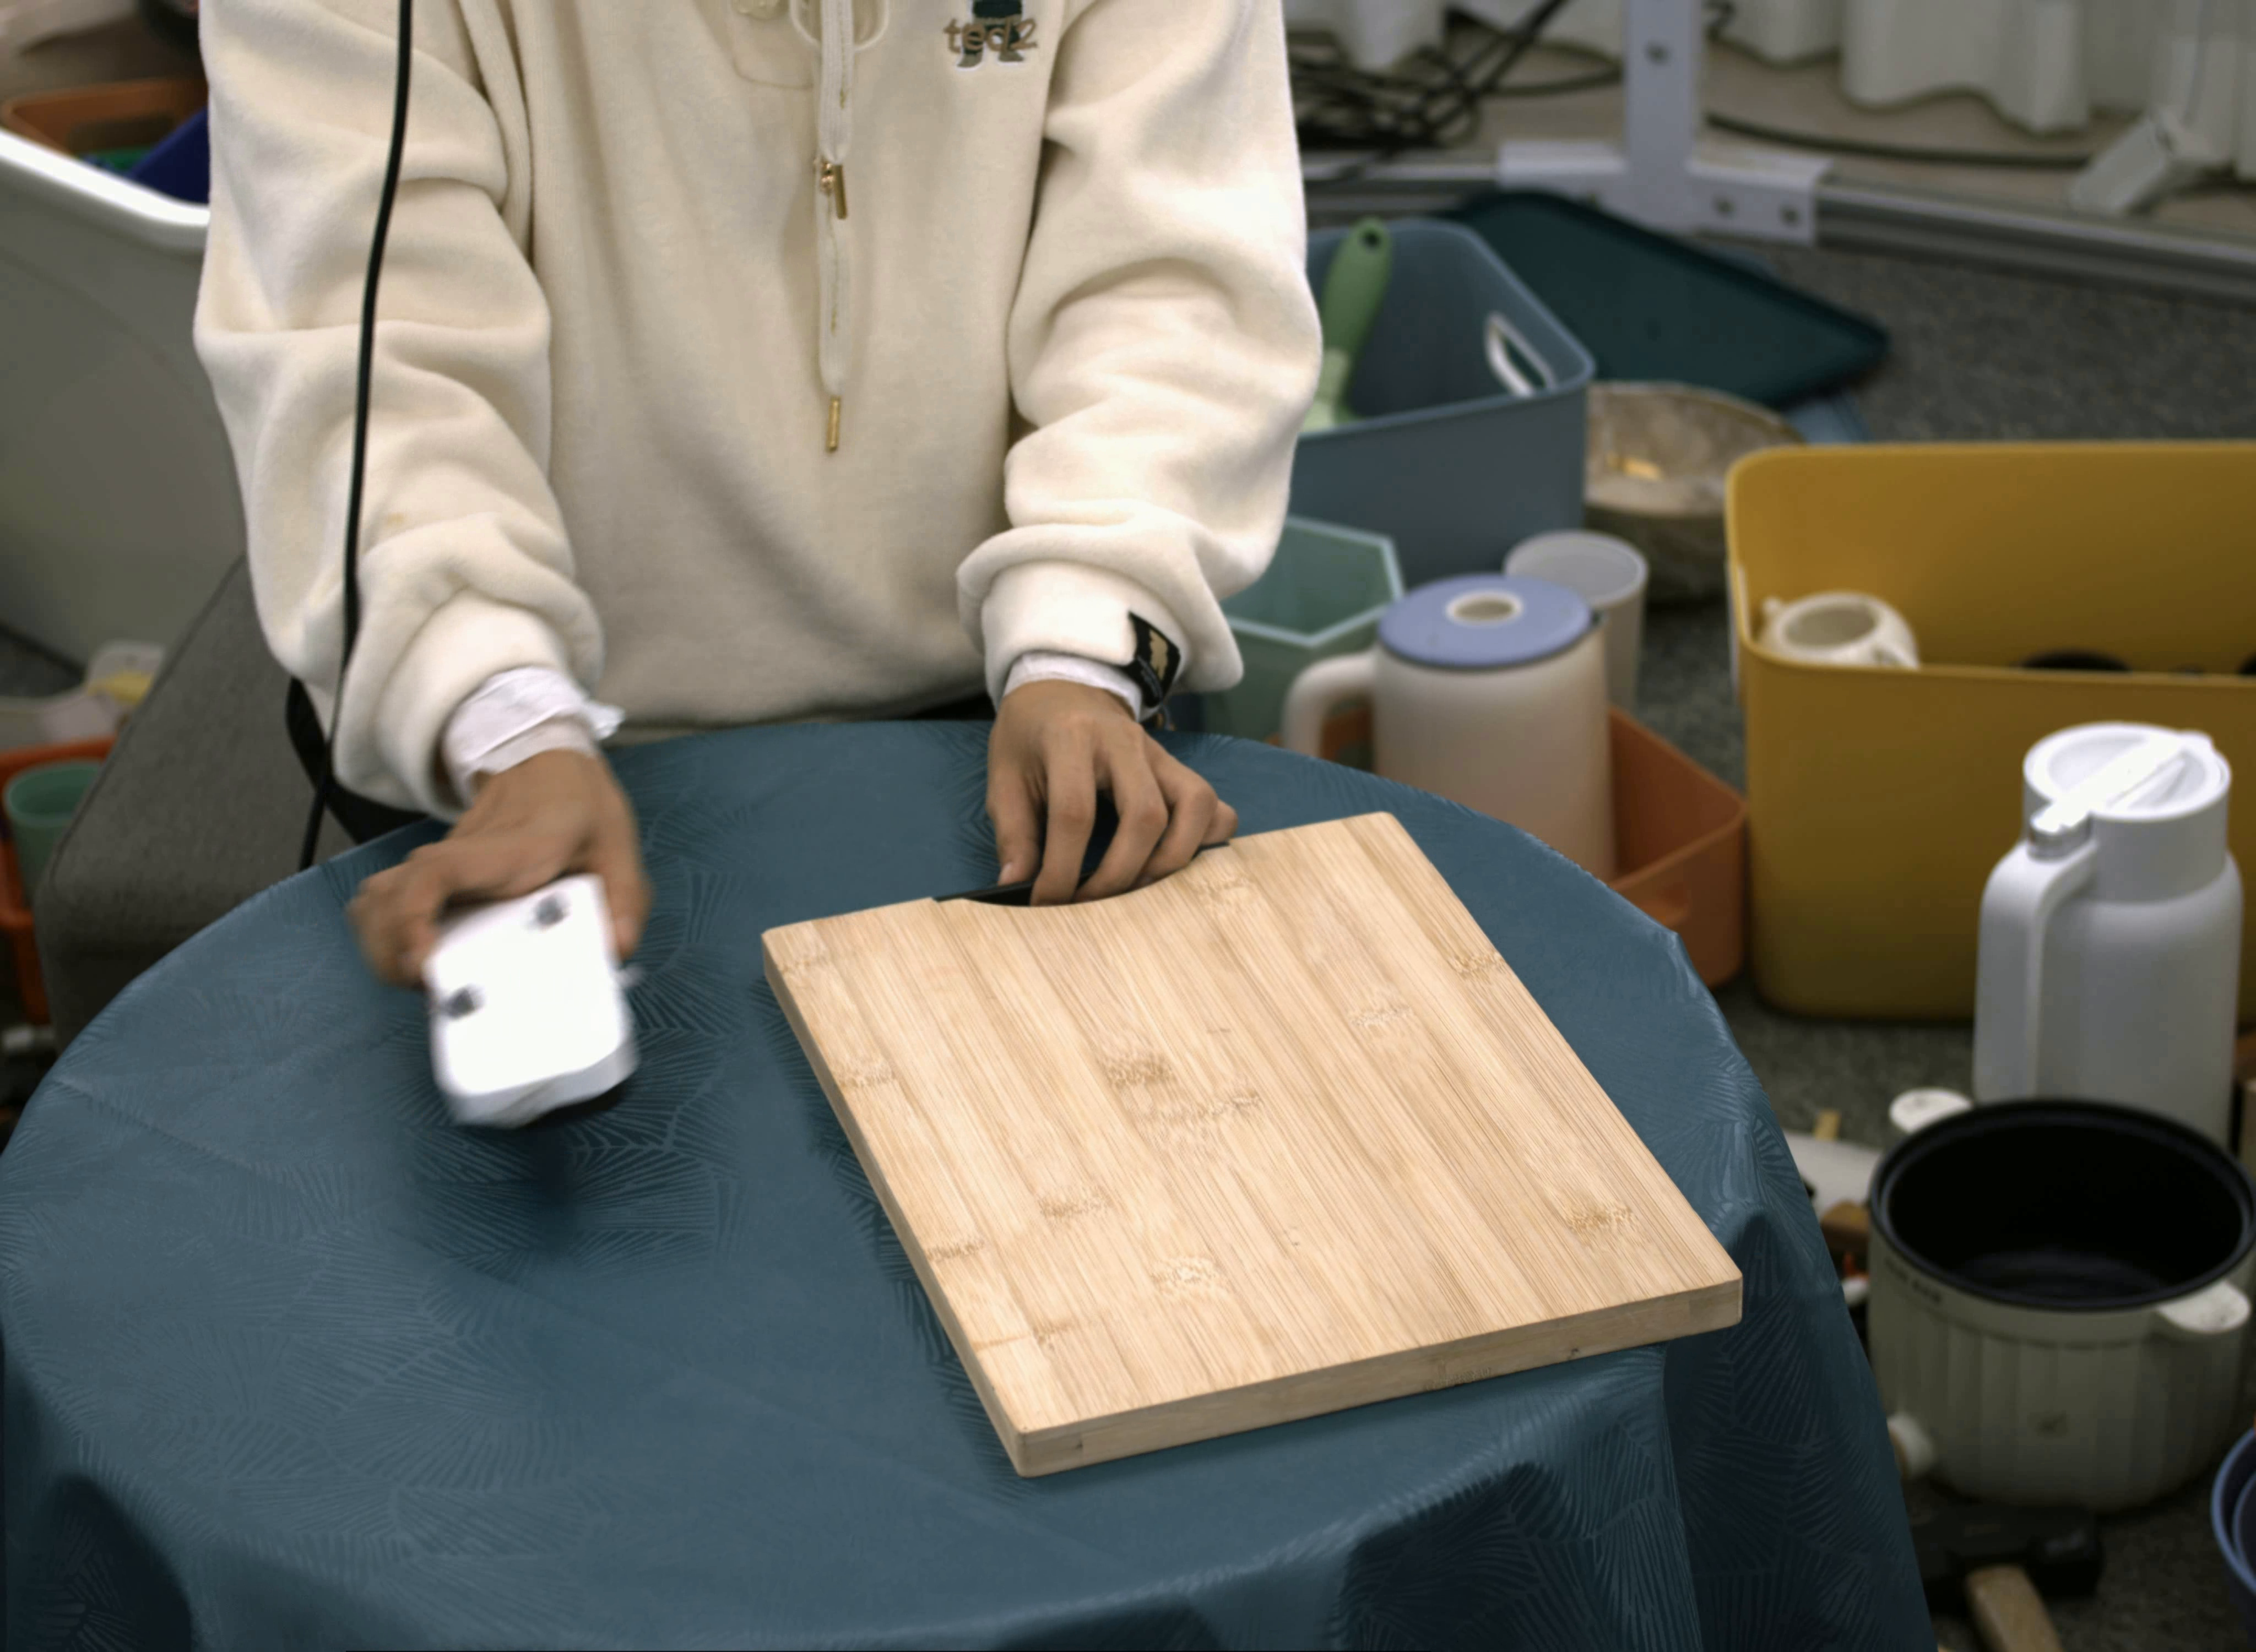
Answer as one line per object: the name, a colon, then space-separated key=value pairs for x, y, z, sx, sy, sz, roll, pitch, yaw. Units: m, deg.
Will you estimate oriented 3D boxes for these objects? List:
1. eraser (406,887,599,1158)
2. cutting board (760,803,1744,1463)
eraser: x=-0.210 y=0.063 z=1.899 sx=0.063 sy=0.034 sz=0.133 roll=-12 pitch=30 yaw=-2
cutting board: x=0.031 y=0.096 z=1.891 sx=0.251 sy=0.023 sz=0.352 roll=-11 pitch=28 yaw=-14
